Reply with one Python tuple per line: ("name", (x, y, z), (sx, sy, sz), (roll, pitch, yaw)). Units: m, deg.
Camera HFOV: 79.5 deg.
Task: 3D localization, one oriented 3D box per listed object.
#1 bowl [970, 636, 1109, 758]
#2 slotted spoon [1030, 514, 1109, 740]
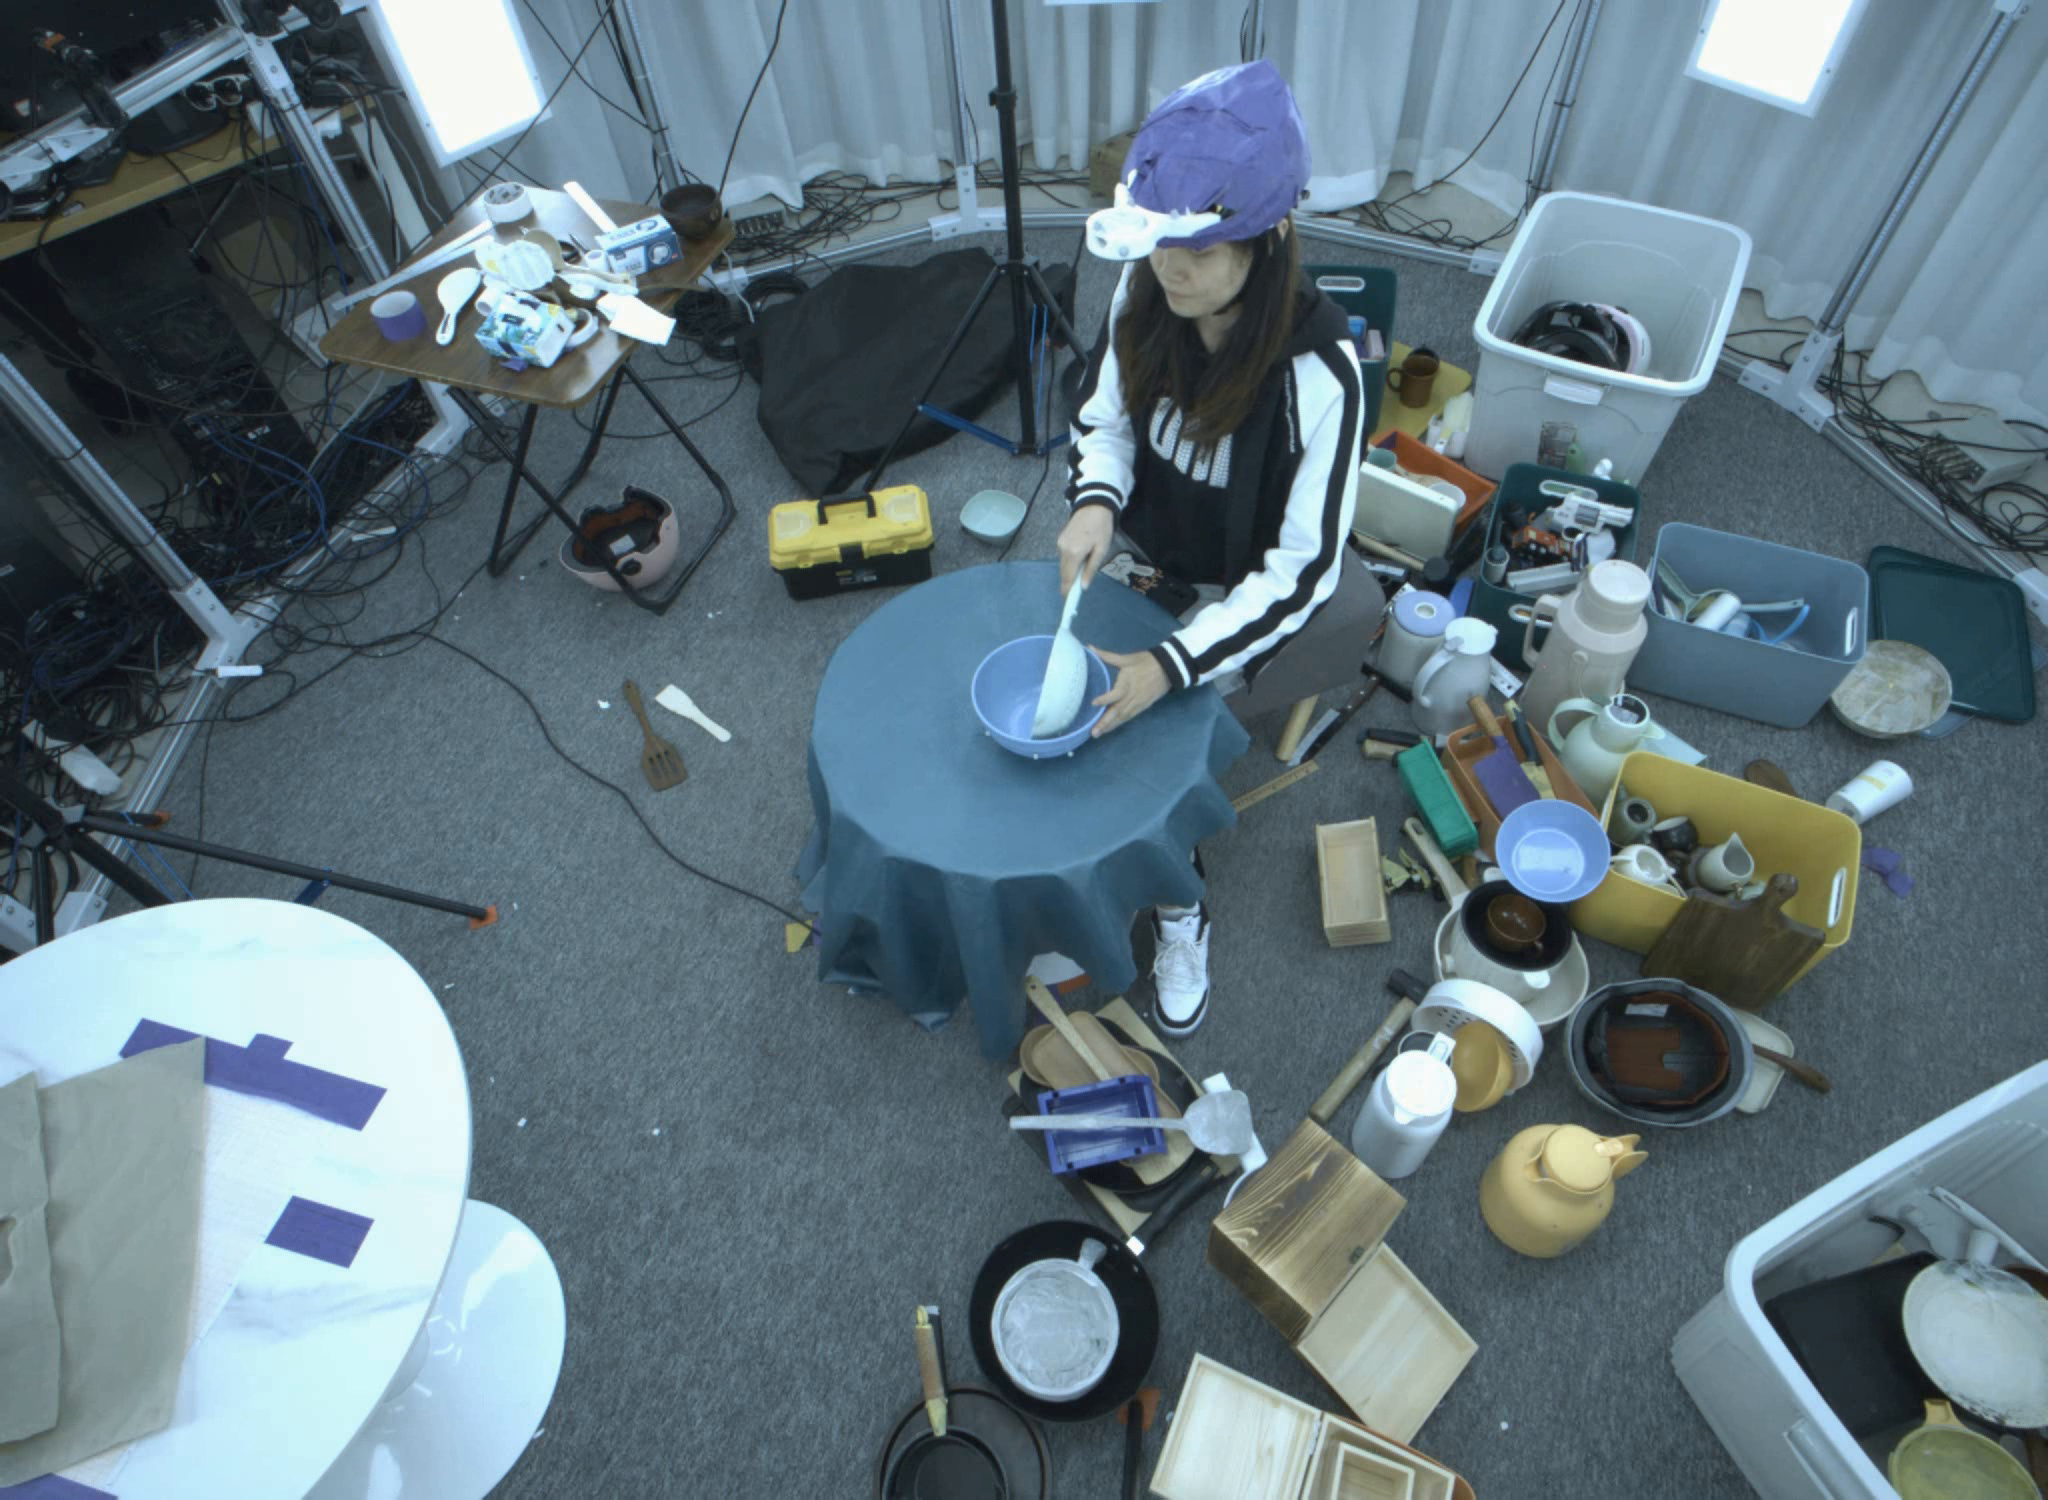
("bowl", (0.025, -0.061, 1.772), (0.196, 0.096, 0.194), (-1, 55, 2))
("slotted spoon", (0.065, -0.178, 1.759), (0.075, 0.169, 0.357), (7, 76, -1))
